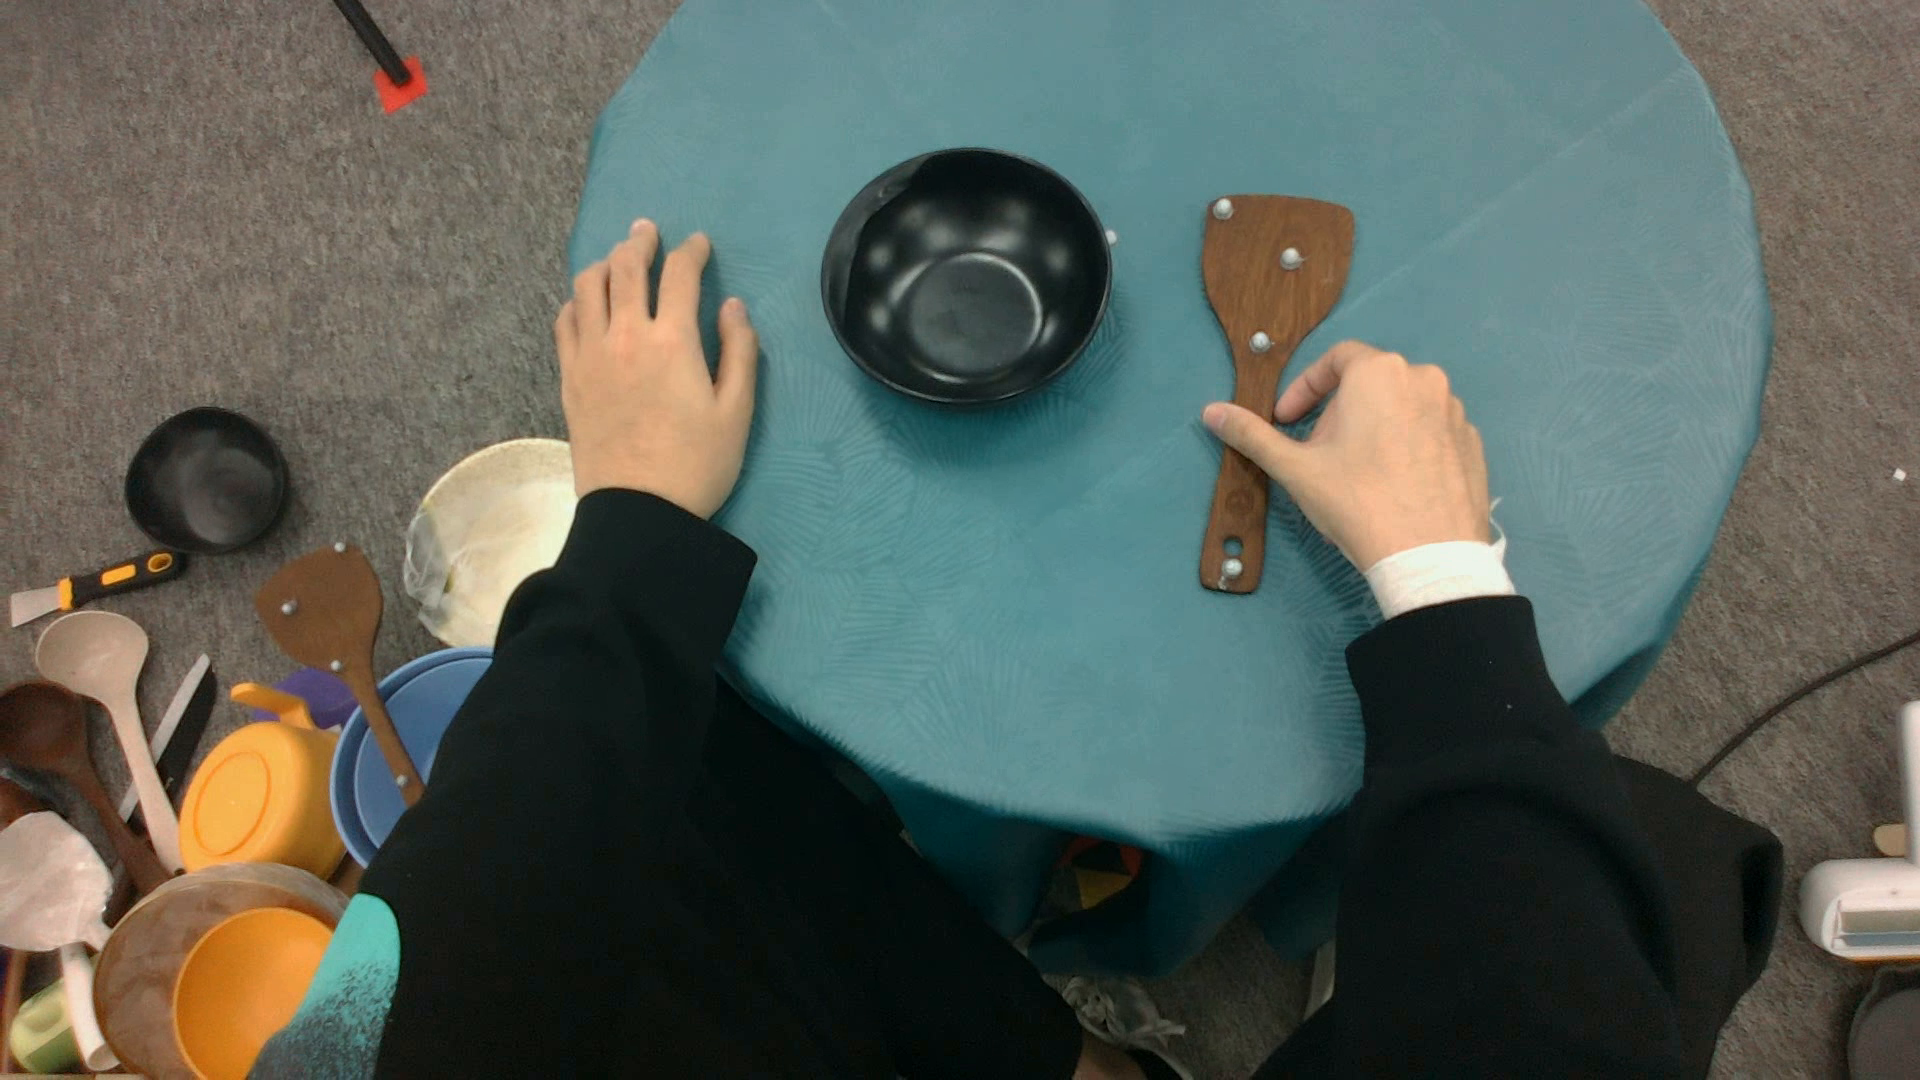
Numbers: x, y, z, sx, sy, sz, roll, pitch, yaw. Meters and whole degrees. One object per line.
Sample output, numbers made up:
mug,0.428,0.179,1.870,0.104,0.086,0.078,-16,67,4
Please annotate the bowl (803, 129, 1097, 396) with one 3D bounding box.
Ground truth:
bowl,-0.005,-0.127,0.670,0.140,0.049,0.140,0,71,1

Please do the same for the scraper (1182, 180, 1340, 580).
scraper,0.135,-0.081,0.665,0.076,0.011,0.212,9,72,8
